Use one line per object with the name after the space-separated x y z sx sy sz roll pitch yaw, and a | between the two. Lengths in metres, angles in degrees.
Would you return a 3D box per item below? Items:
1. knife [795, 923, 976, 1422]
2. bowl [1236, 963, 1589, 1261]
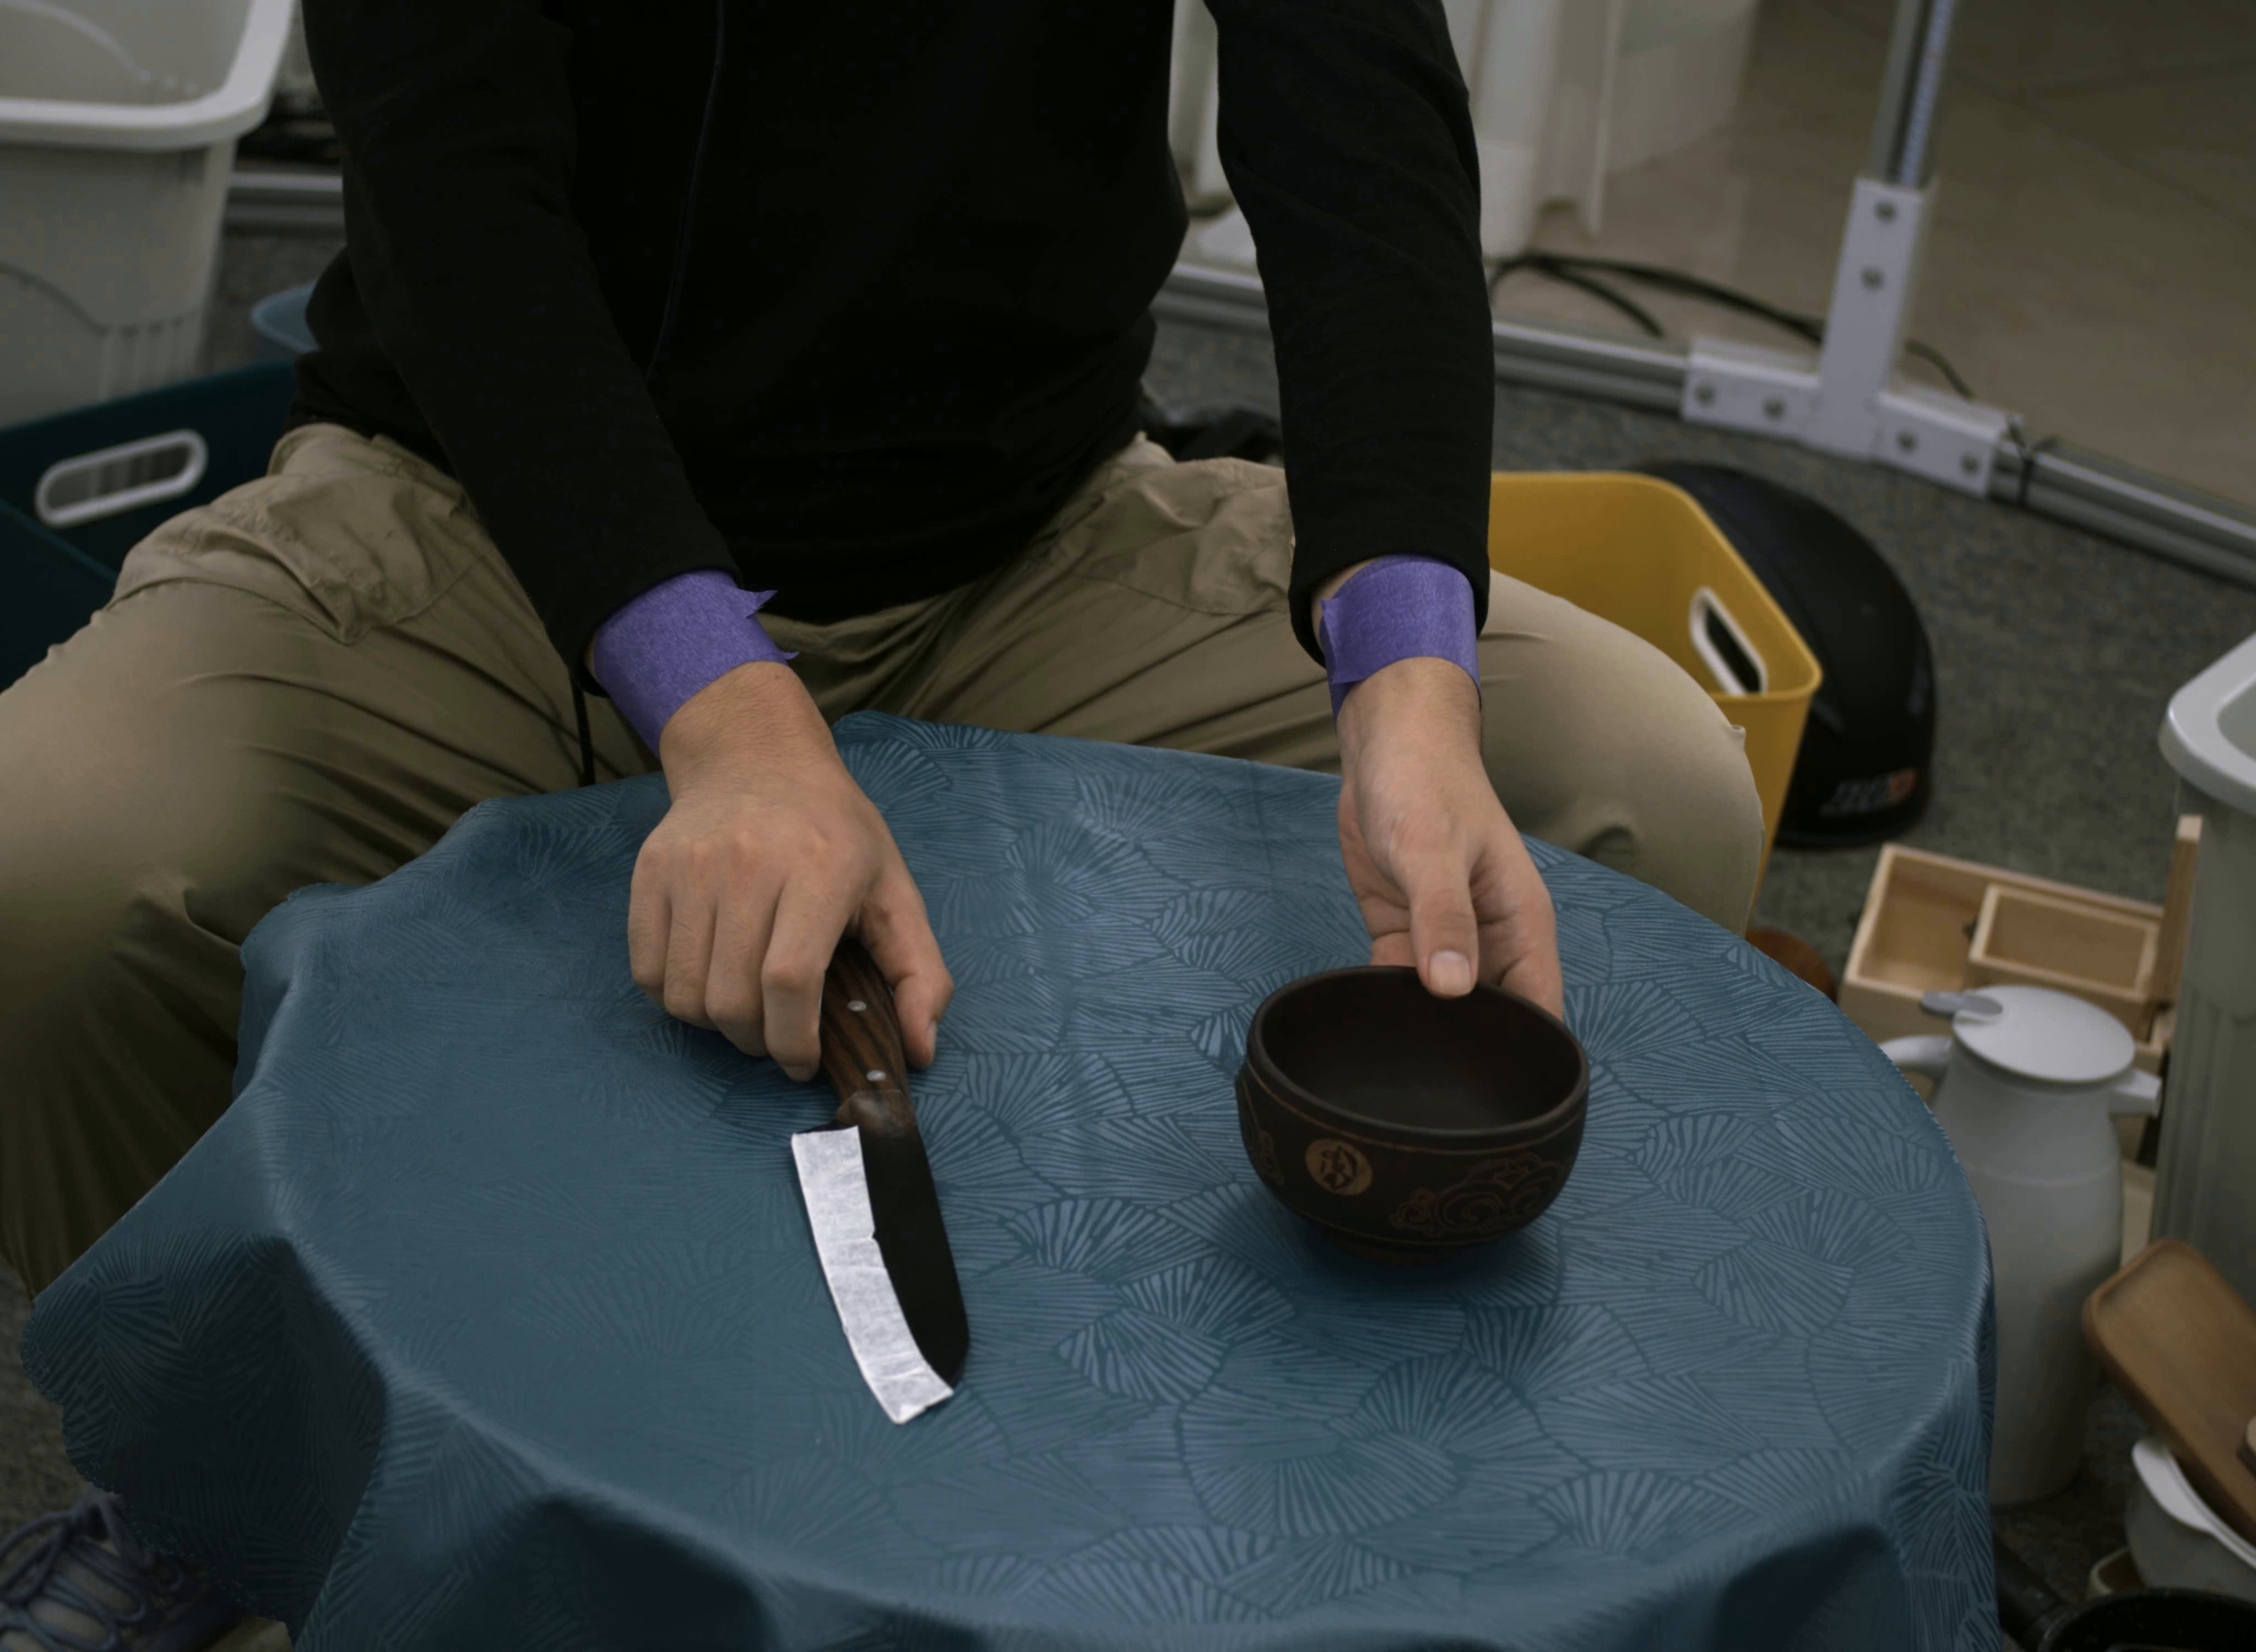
-0.087 0.114 1.789 0.050 0.020 0.291 -5 30 -6 | knife
0.094 0.103 1.790 0.117 0.069 0.119 4 26 -2 | bowl
